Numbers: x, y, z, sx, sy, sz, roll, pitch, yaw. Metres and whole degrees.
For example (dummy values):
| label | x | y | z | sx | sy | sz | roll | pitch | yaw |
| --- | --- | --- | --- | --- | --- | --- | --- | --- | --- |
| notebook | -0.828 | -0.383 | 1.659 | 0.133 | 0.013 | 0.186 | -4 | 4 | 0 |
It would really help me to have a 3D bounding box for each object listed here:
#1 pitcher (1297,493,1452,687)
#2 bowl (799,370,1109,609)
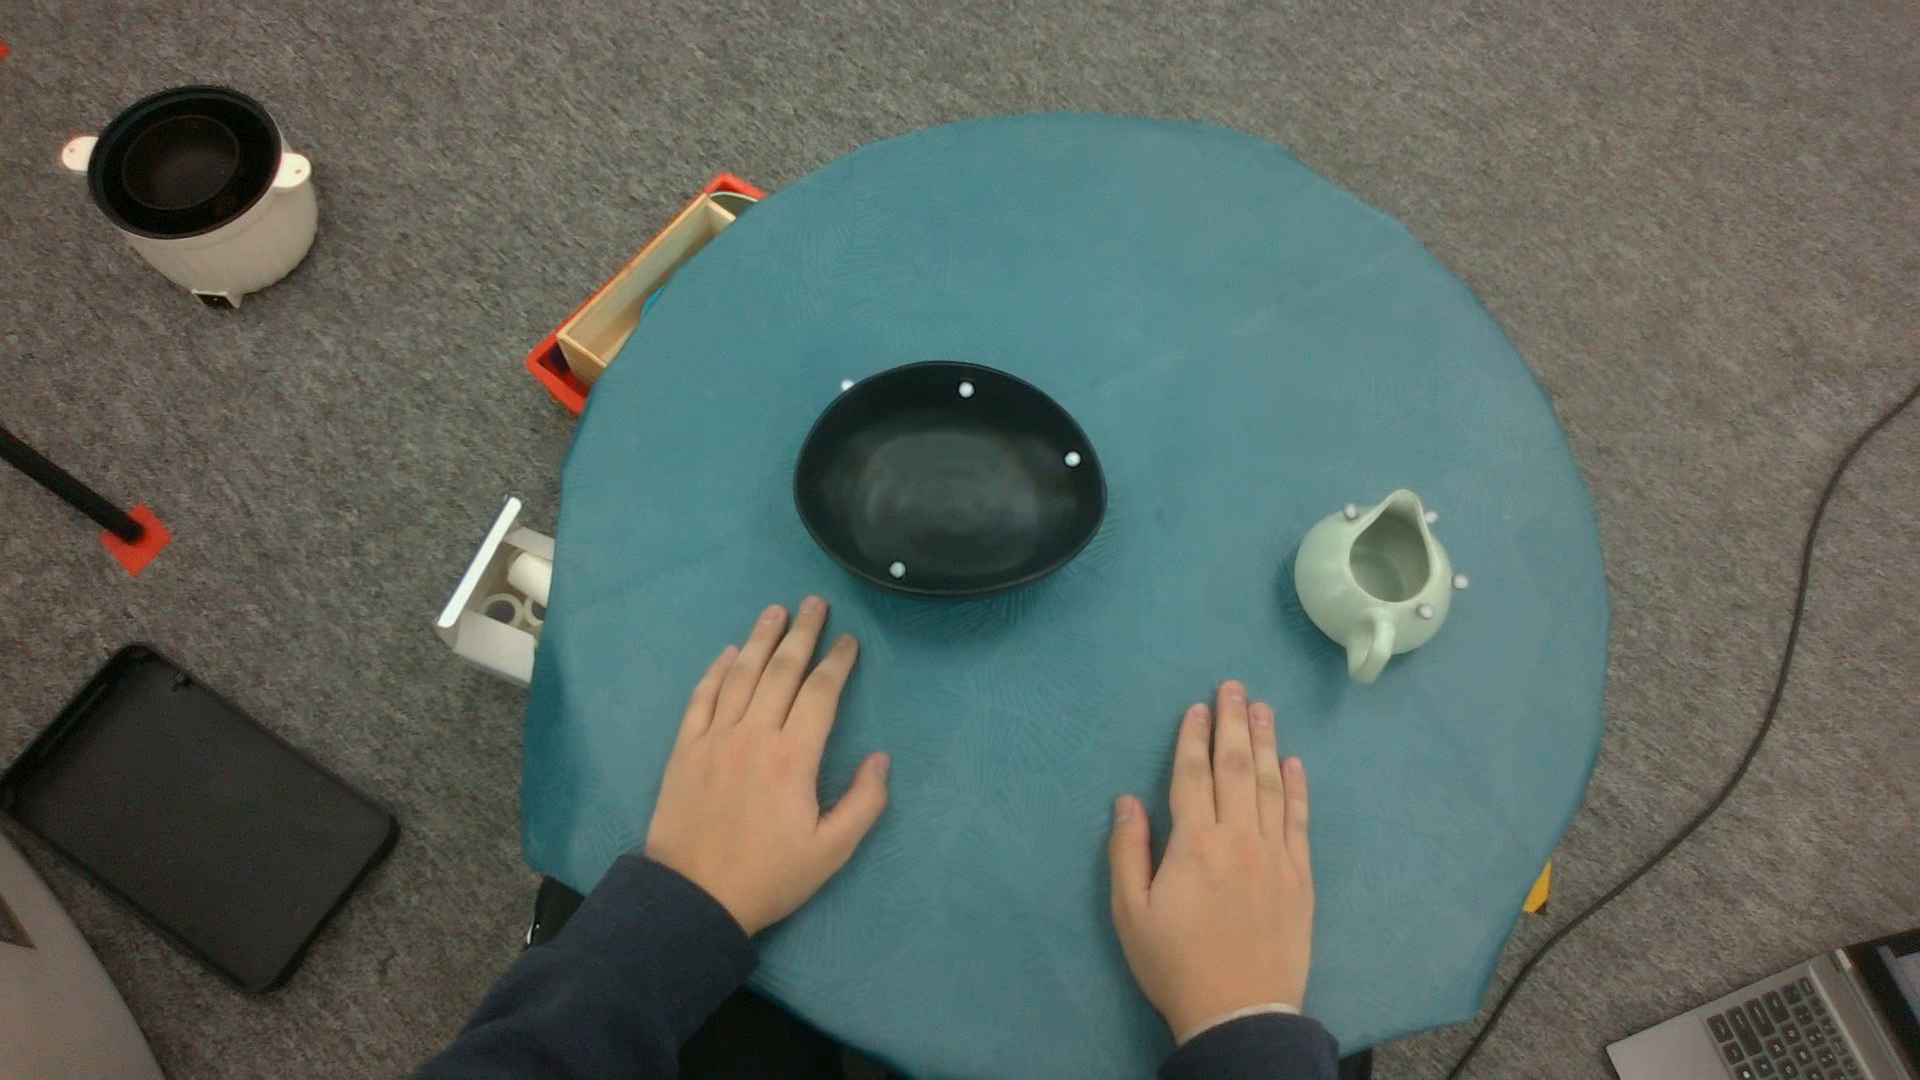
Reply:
| label | x | y | z | sx | sy | sz | roll | pitch | yaw |
| --- | --- | --- | --- | --- | --- | --- | --- | --- | --- |
| pitcher | 0.231 | 0.031 | 0.764 | 0.086 | 0.060 | 0.108 | 13 | 70 | 4 |
| bowl | -0.003 | -0.021 | 0.772 | 0.170 | 0.066 | 0.138 | 2 | 69 | -3 |
